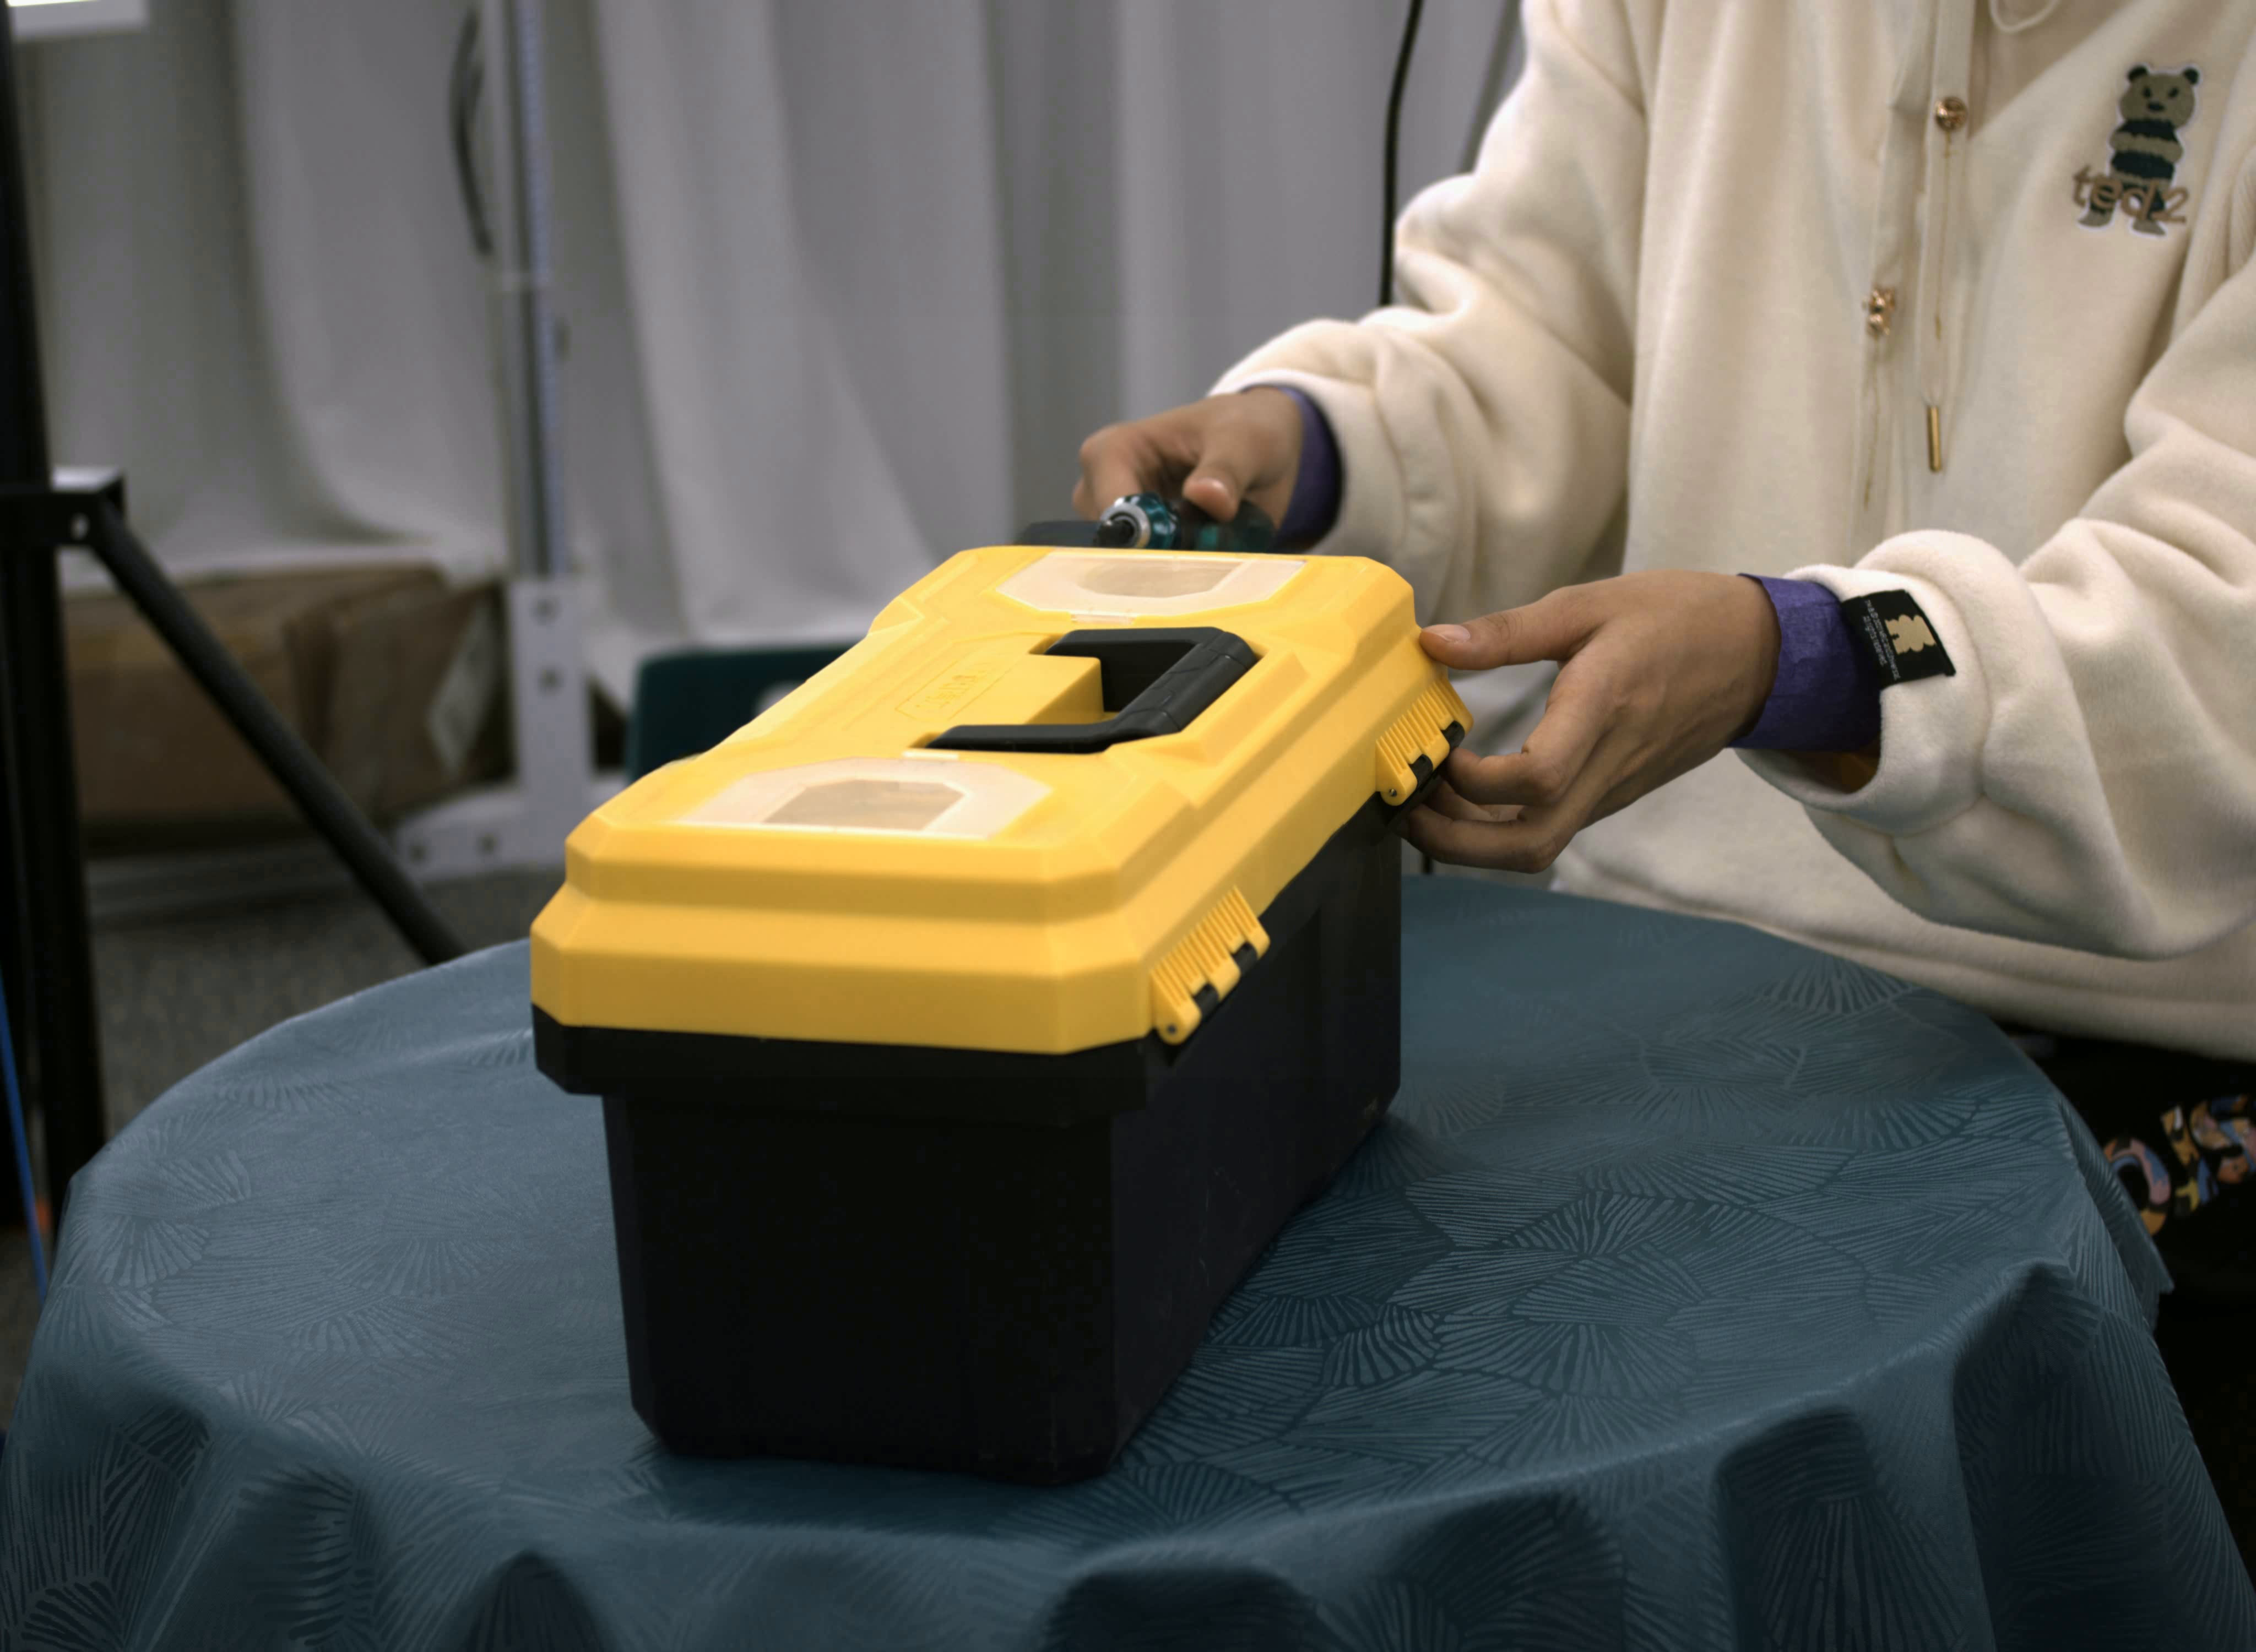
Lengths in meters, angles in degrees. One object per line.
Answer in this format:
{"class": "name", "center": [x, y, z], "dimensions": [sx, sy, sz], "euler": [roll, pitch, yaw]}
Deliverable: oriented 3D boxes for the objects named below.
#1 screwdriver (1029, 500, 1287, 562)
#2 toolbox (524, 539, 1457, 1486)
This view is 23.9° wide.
{"class": "screwdriver", "center": [0.009, -0.091, 1.724], "dimensions": [0.034, 0.034, 0.186], "euler": [5, 3, 23]}
{"class": "toolbox", "center": [-0.026, 0.041, 1.480], "dimensions": [0.183, 0.173, 0.348], "euler": [3, 17, 18]}
